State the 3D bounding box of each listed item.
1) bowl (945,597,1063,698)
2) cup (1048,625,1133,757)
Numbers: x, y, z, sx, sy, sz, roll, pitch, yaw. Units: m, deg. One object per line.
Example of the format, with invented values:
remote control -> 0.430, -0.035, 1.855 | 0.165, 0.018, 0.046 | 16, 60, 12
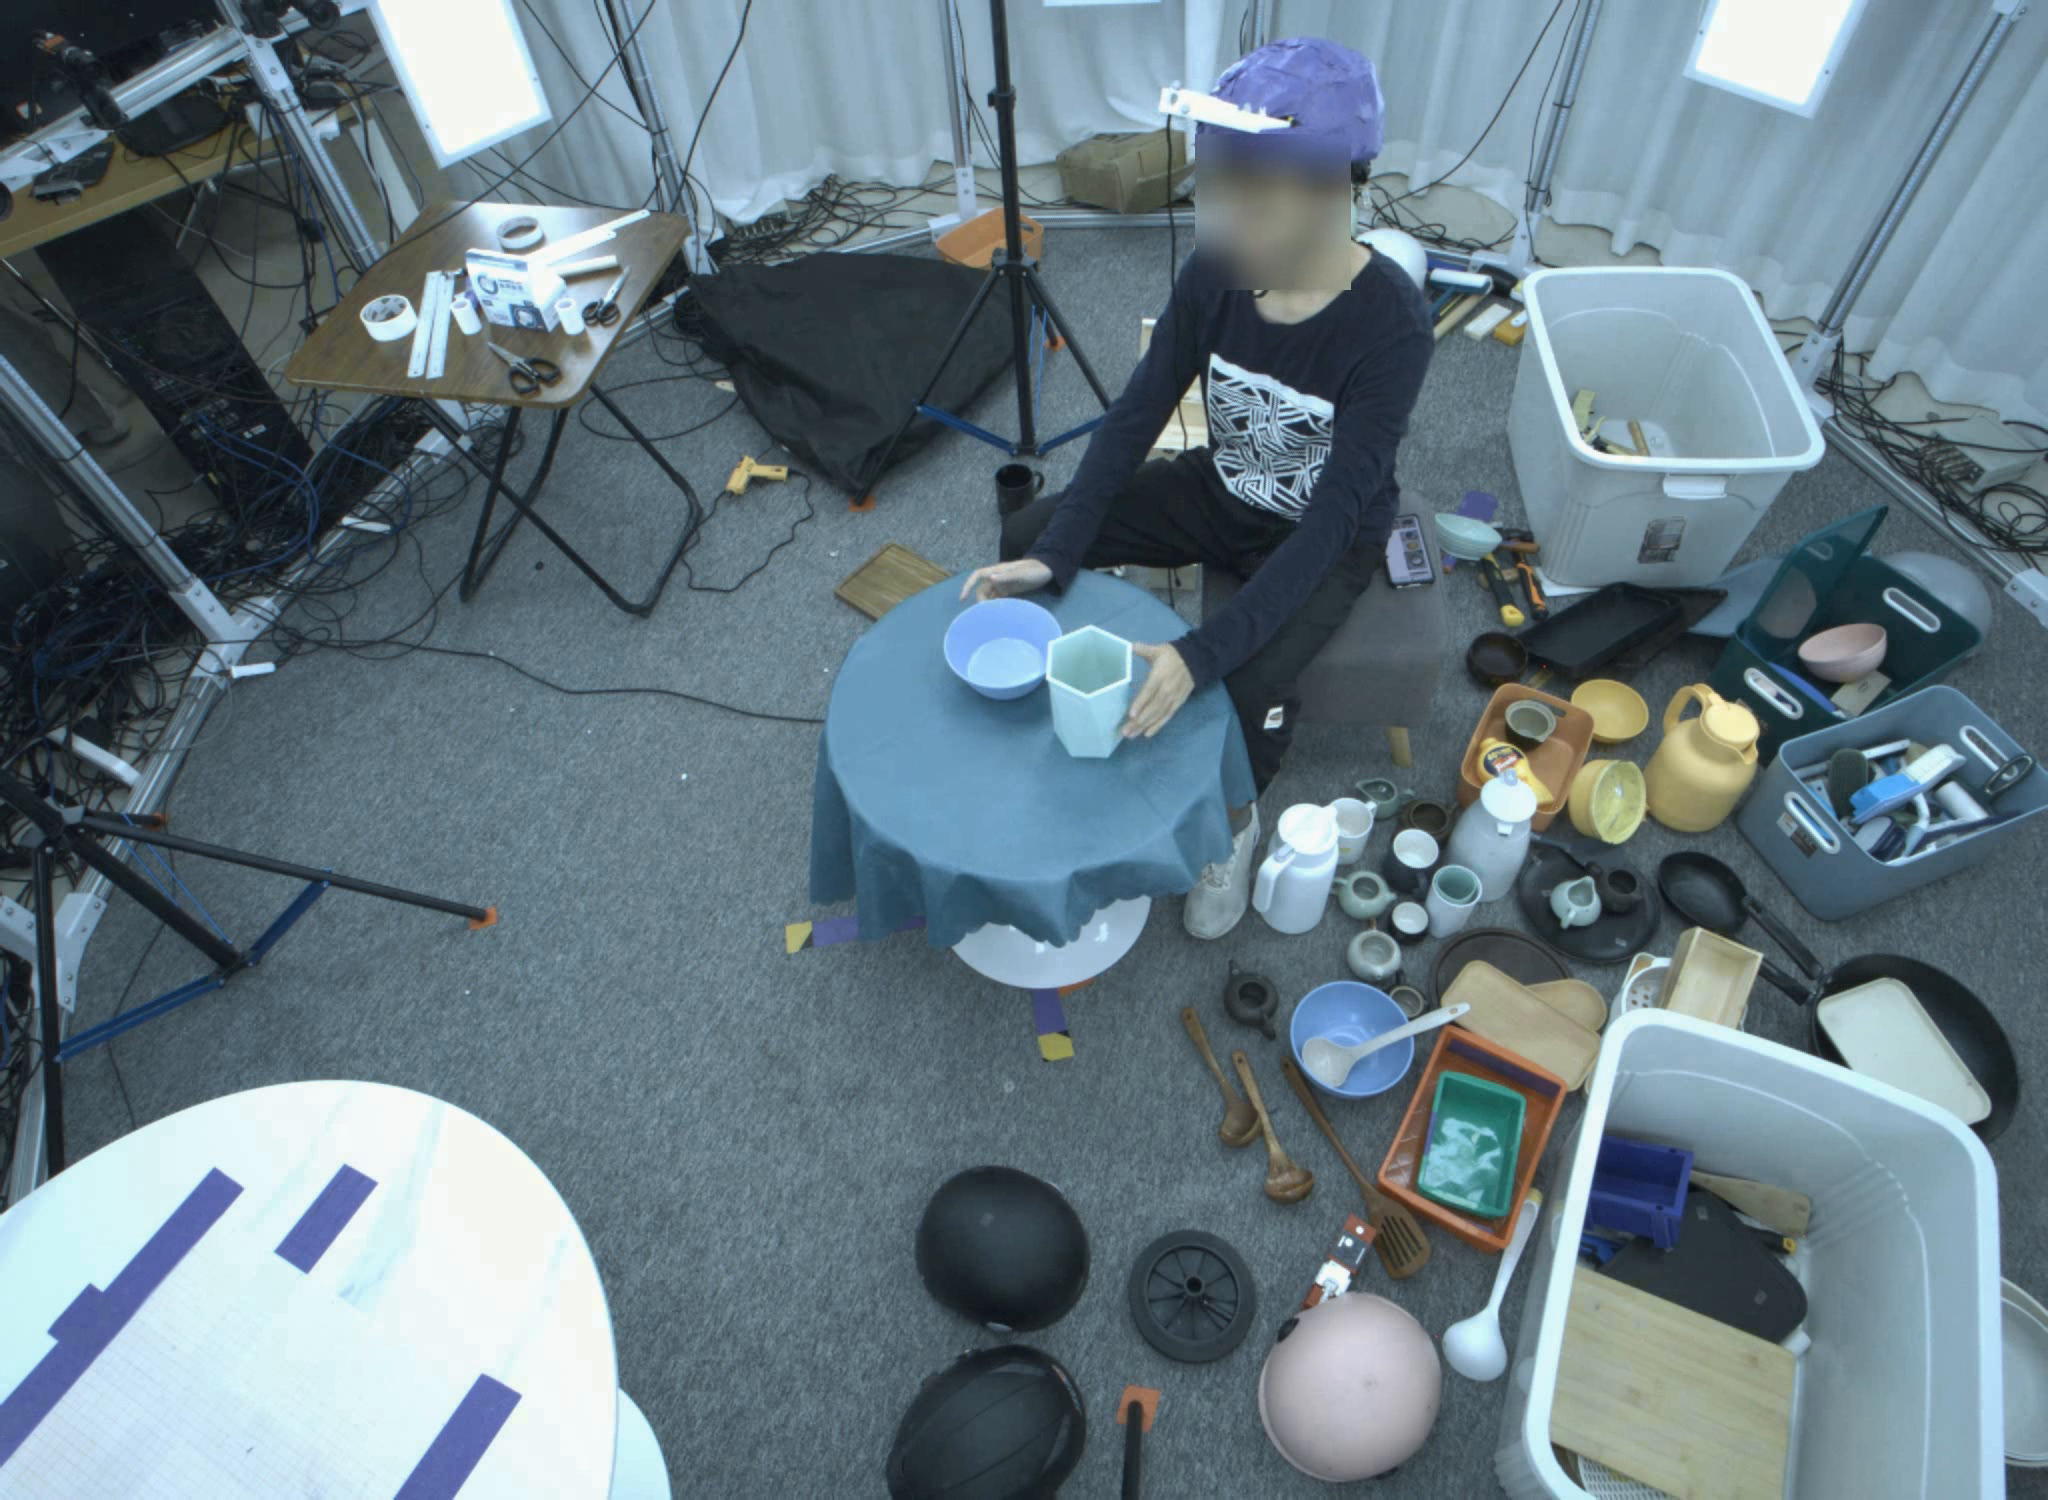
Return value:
bowl -> -0.029, -0.143, 1.839 | 0.176, 0.071, 0.174 | 0, 54, 2
cup -> 0.092, -0.073, 1.728 | 0.129, 0.164, 0.115 | 25, 57, 18
